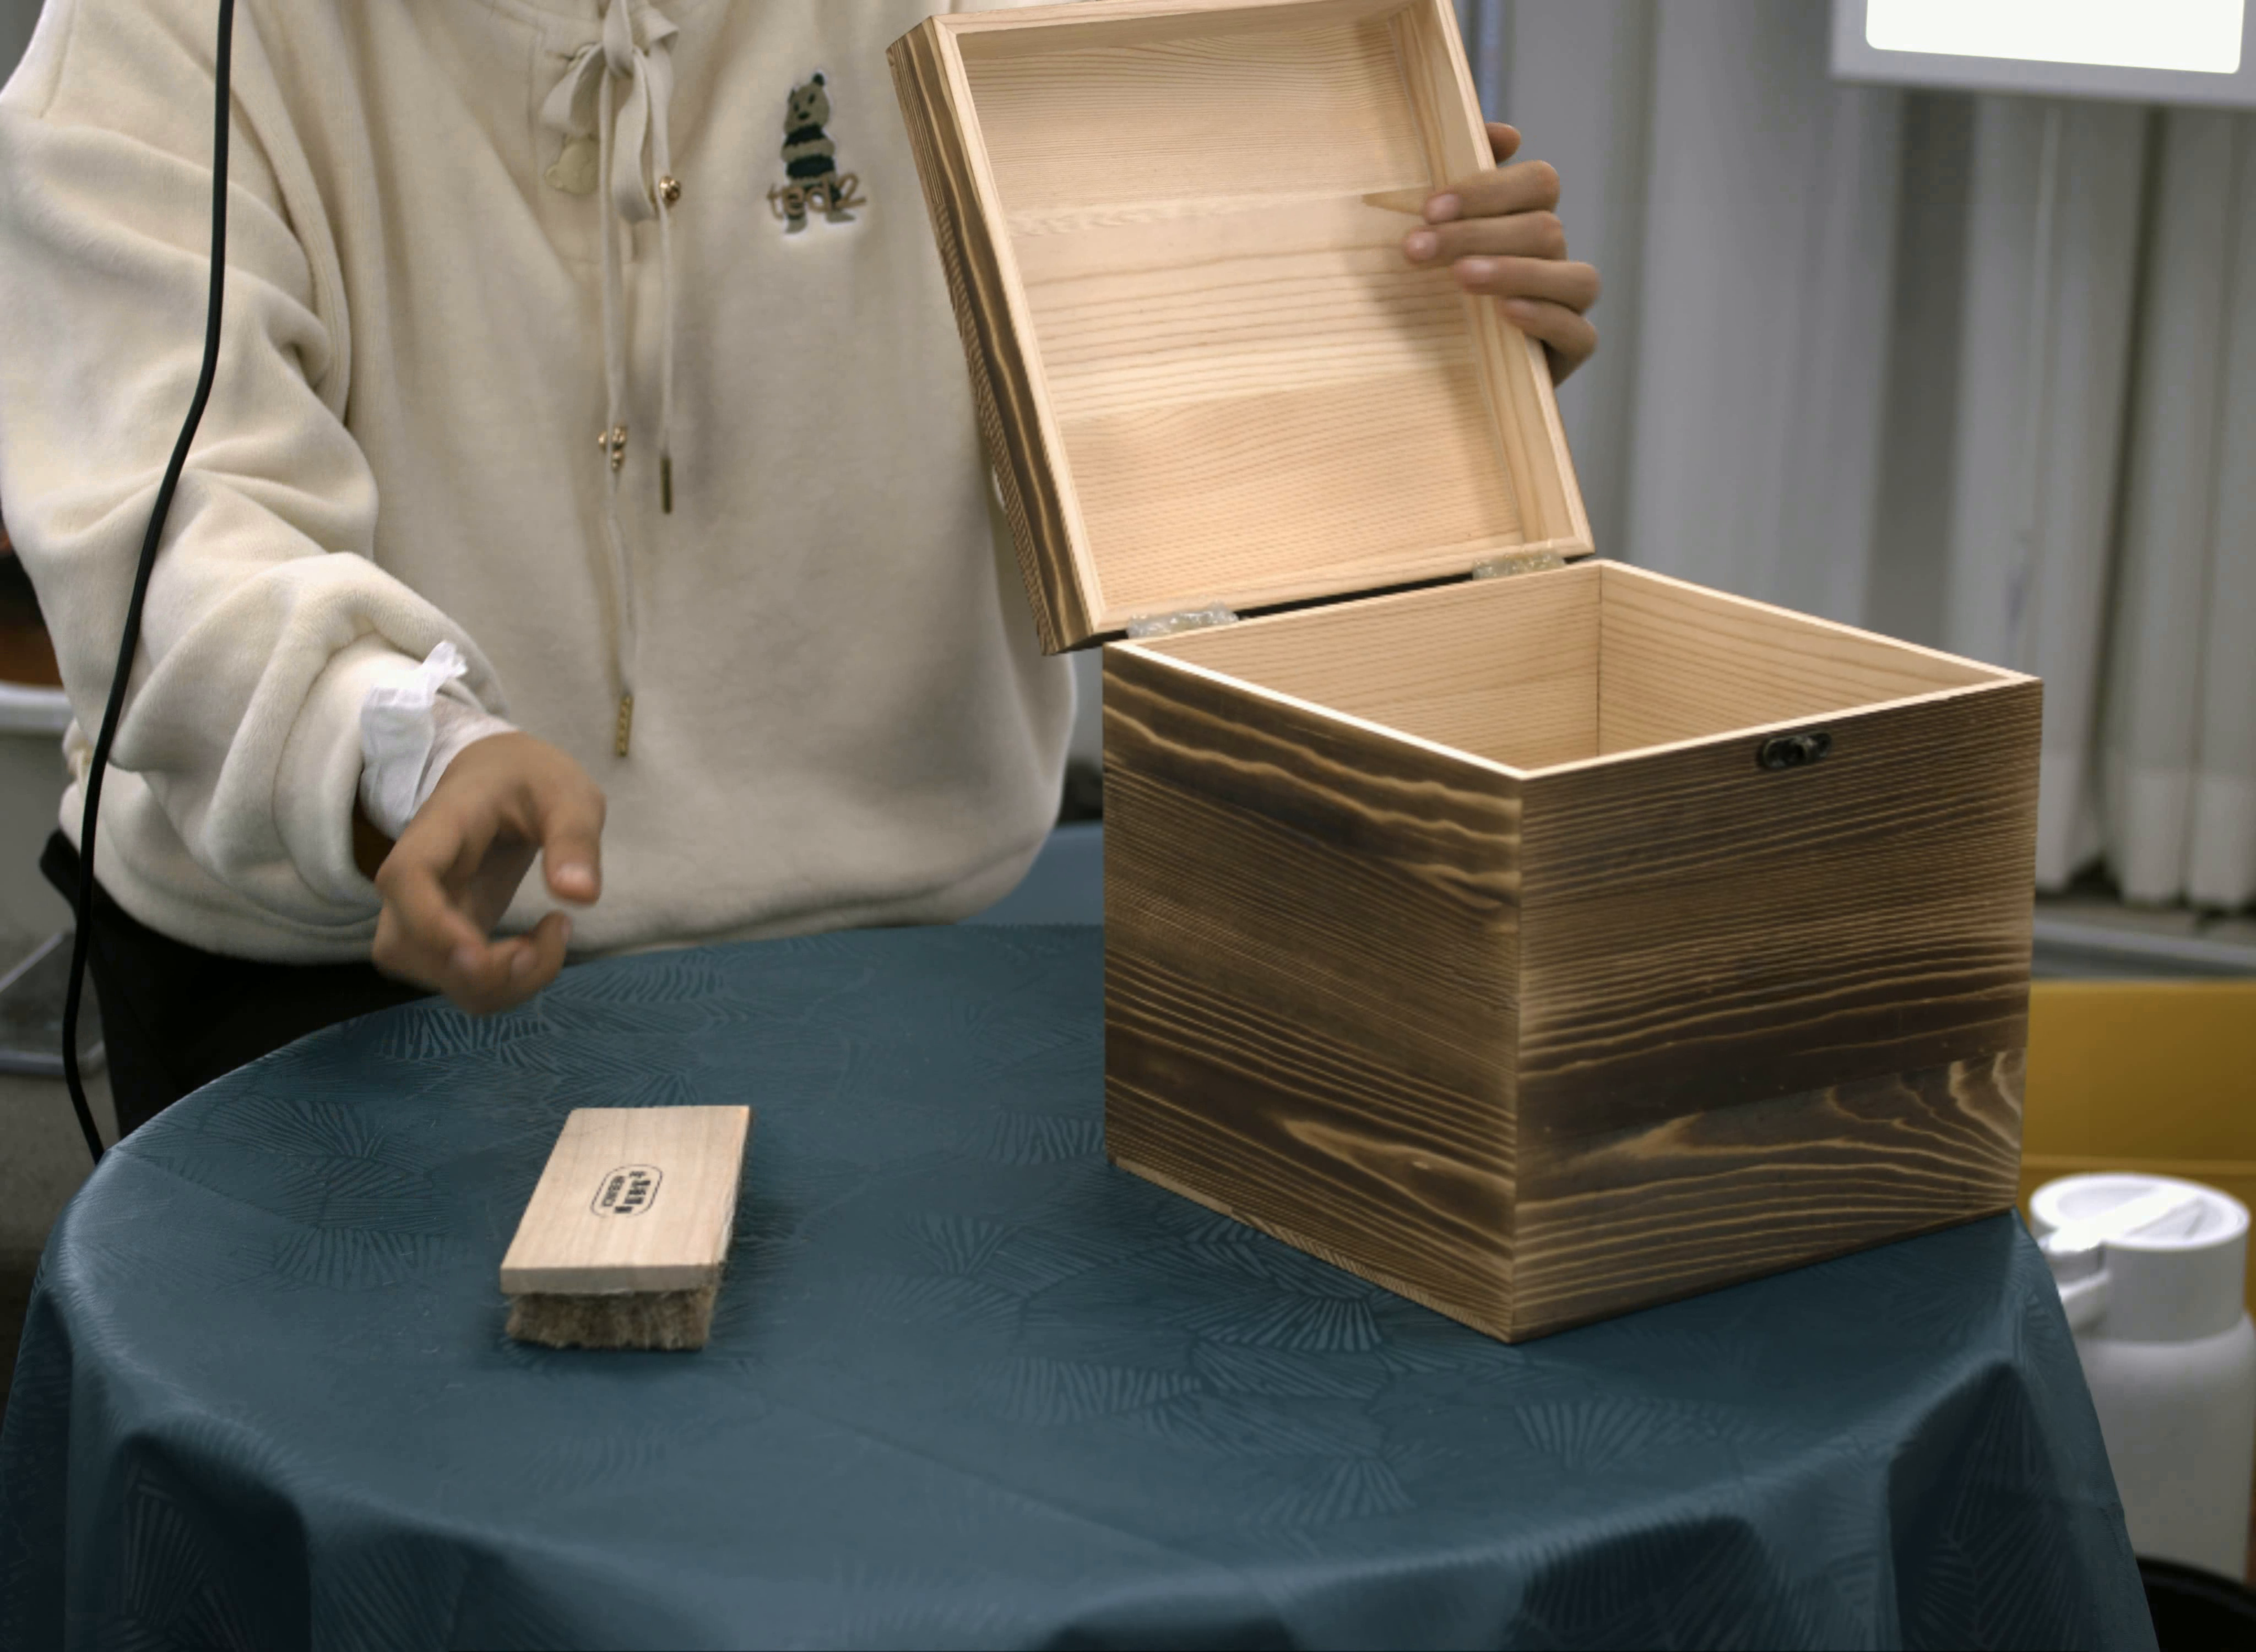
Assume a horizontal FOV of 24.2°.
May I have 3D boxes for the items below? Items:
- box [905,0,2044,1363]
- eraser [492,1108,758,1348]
[{"bbox_3d":[0.100,-0.075,1.612,0.210,0.378,0.318,-13,21,-35],"label":"box"},{"bbox_3d":[-0.146,0.117,1.545,0.057,0.029,0.139,-1,15,4],"label":"eraser"}]
